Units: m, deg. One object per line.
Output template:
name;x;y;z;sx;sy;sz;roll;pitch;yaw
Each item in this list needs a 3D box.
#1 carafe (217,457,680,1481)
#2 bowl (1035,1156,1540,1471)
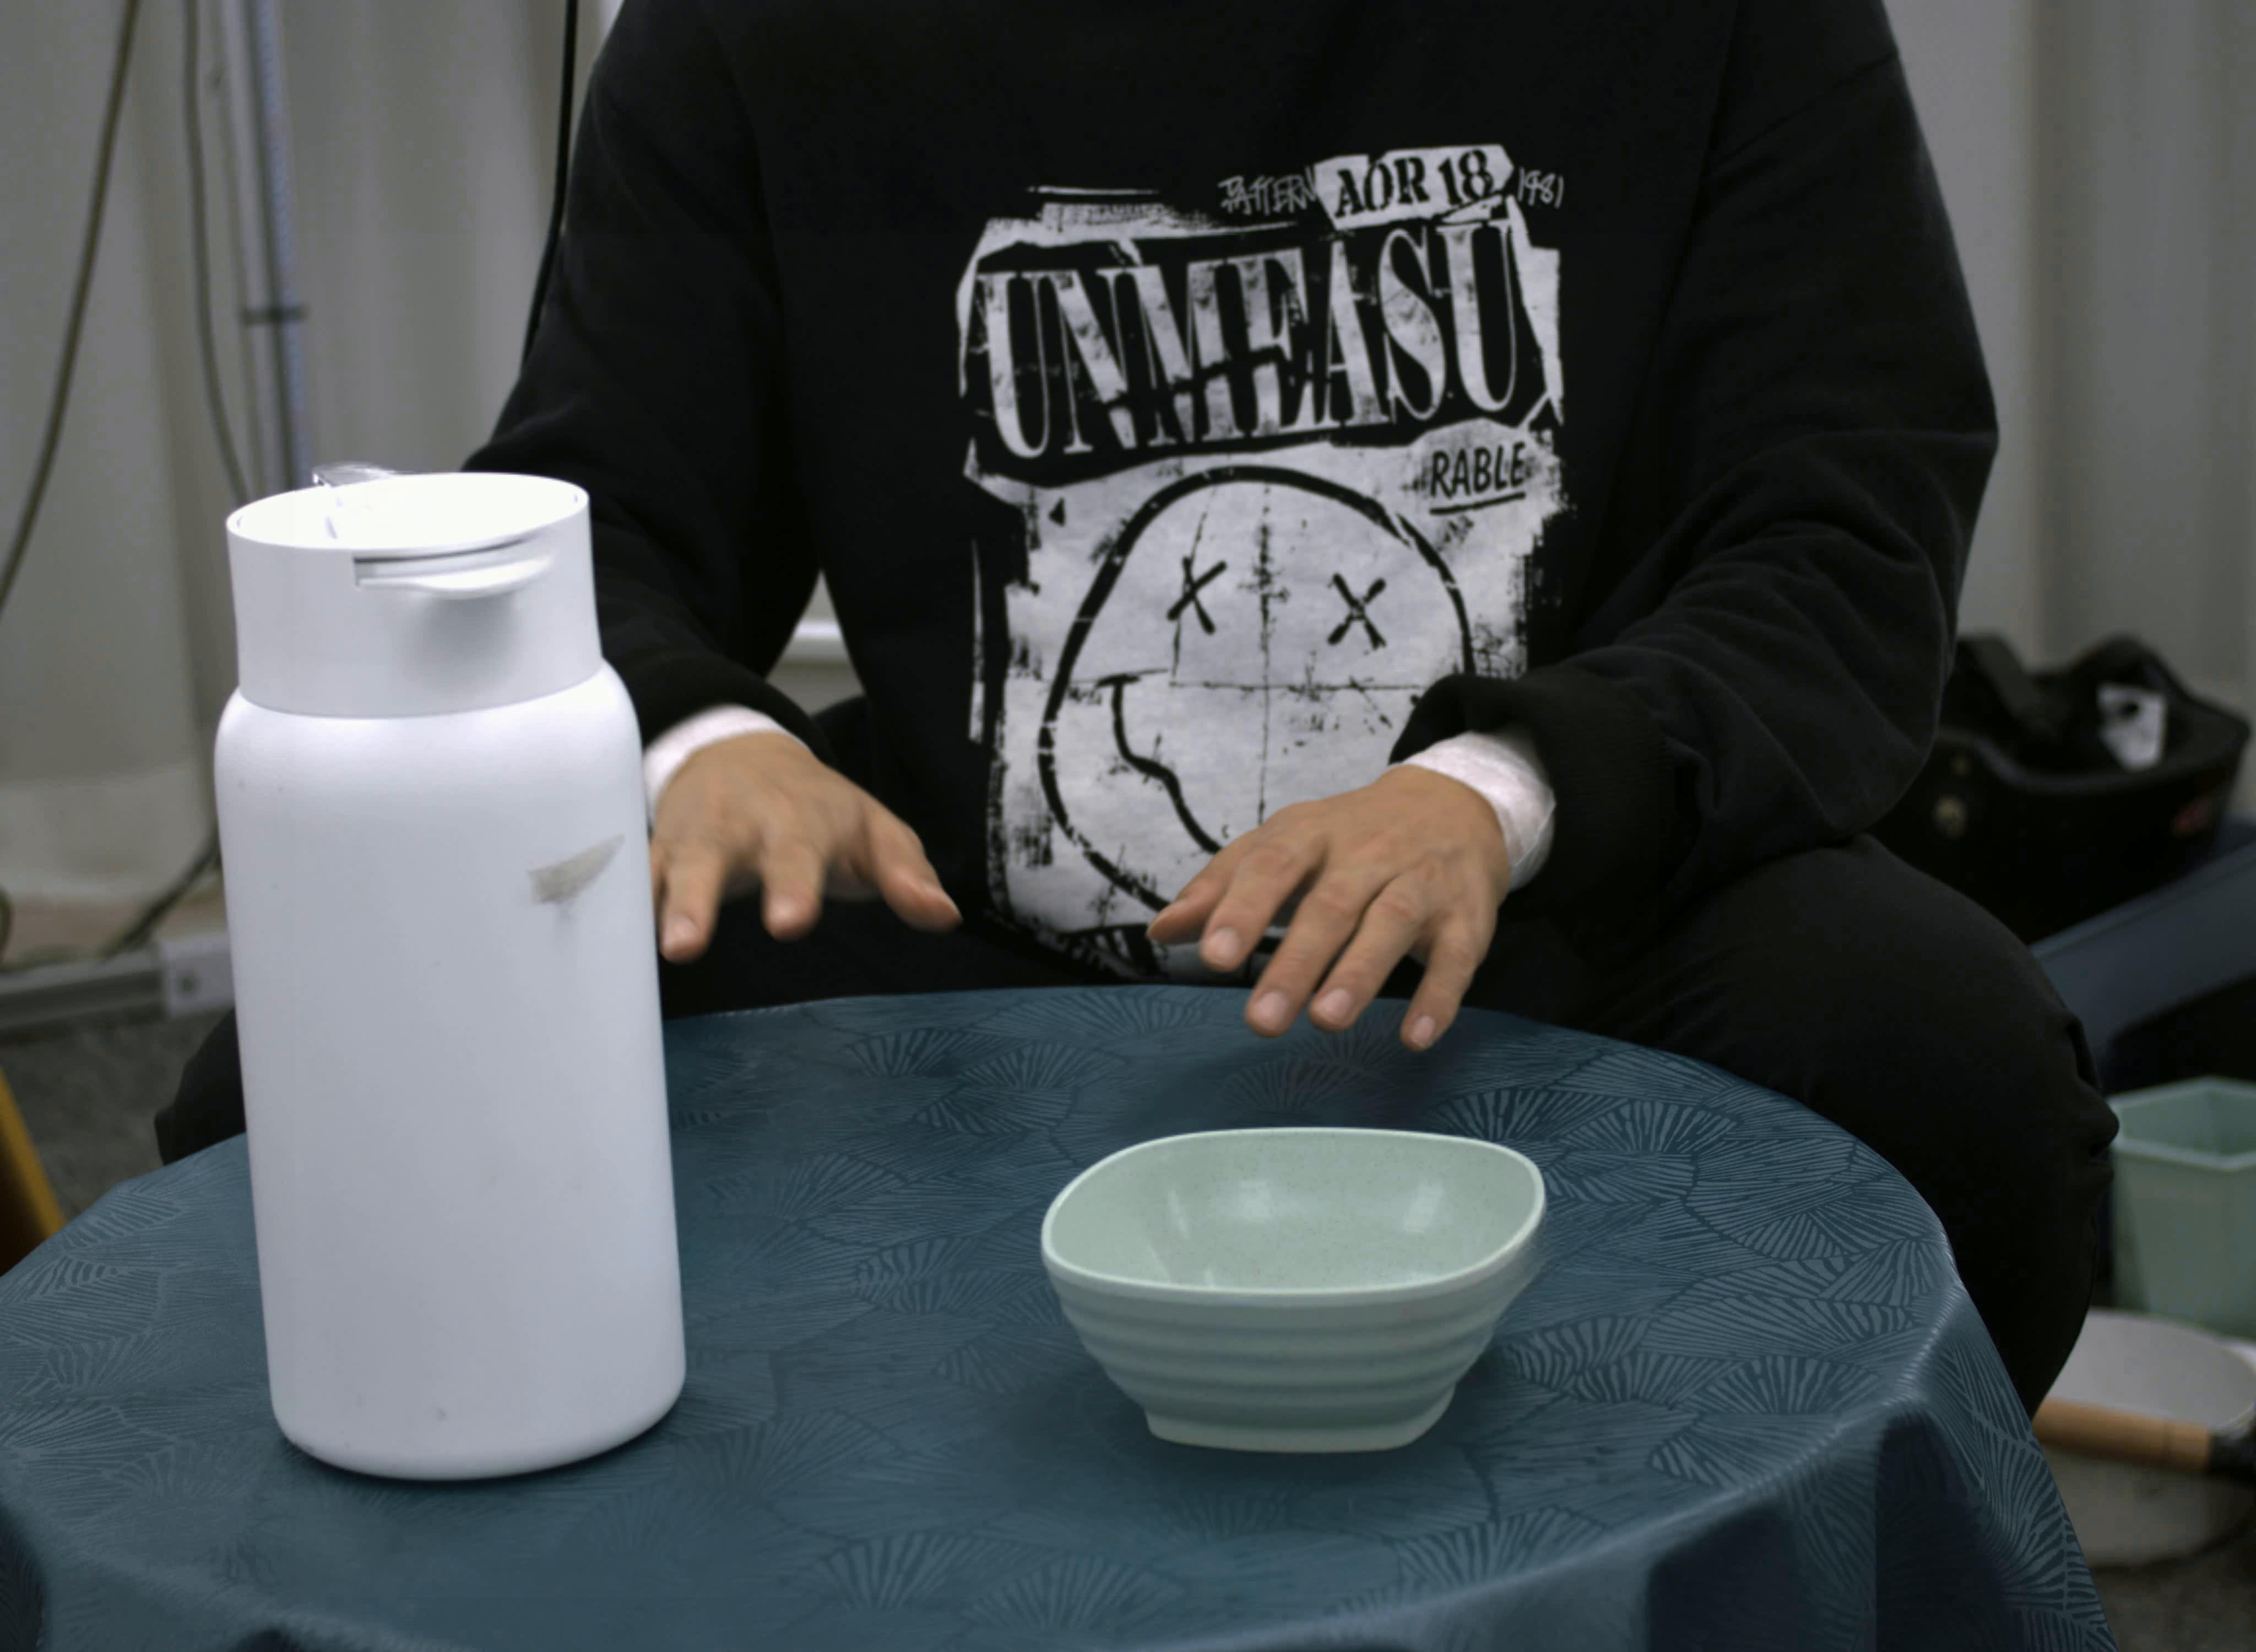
carafe;-0.197;0.036;1.534;0.123;0.268;0.174;-10;16;-22
bowl;0.046;0.139;1.525;0.151;0.058;0.152;-3;12;0
